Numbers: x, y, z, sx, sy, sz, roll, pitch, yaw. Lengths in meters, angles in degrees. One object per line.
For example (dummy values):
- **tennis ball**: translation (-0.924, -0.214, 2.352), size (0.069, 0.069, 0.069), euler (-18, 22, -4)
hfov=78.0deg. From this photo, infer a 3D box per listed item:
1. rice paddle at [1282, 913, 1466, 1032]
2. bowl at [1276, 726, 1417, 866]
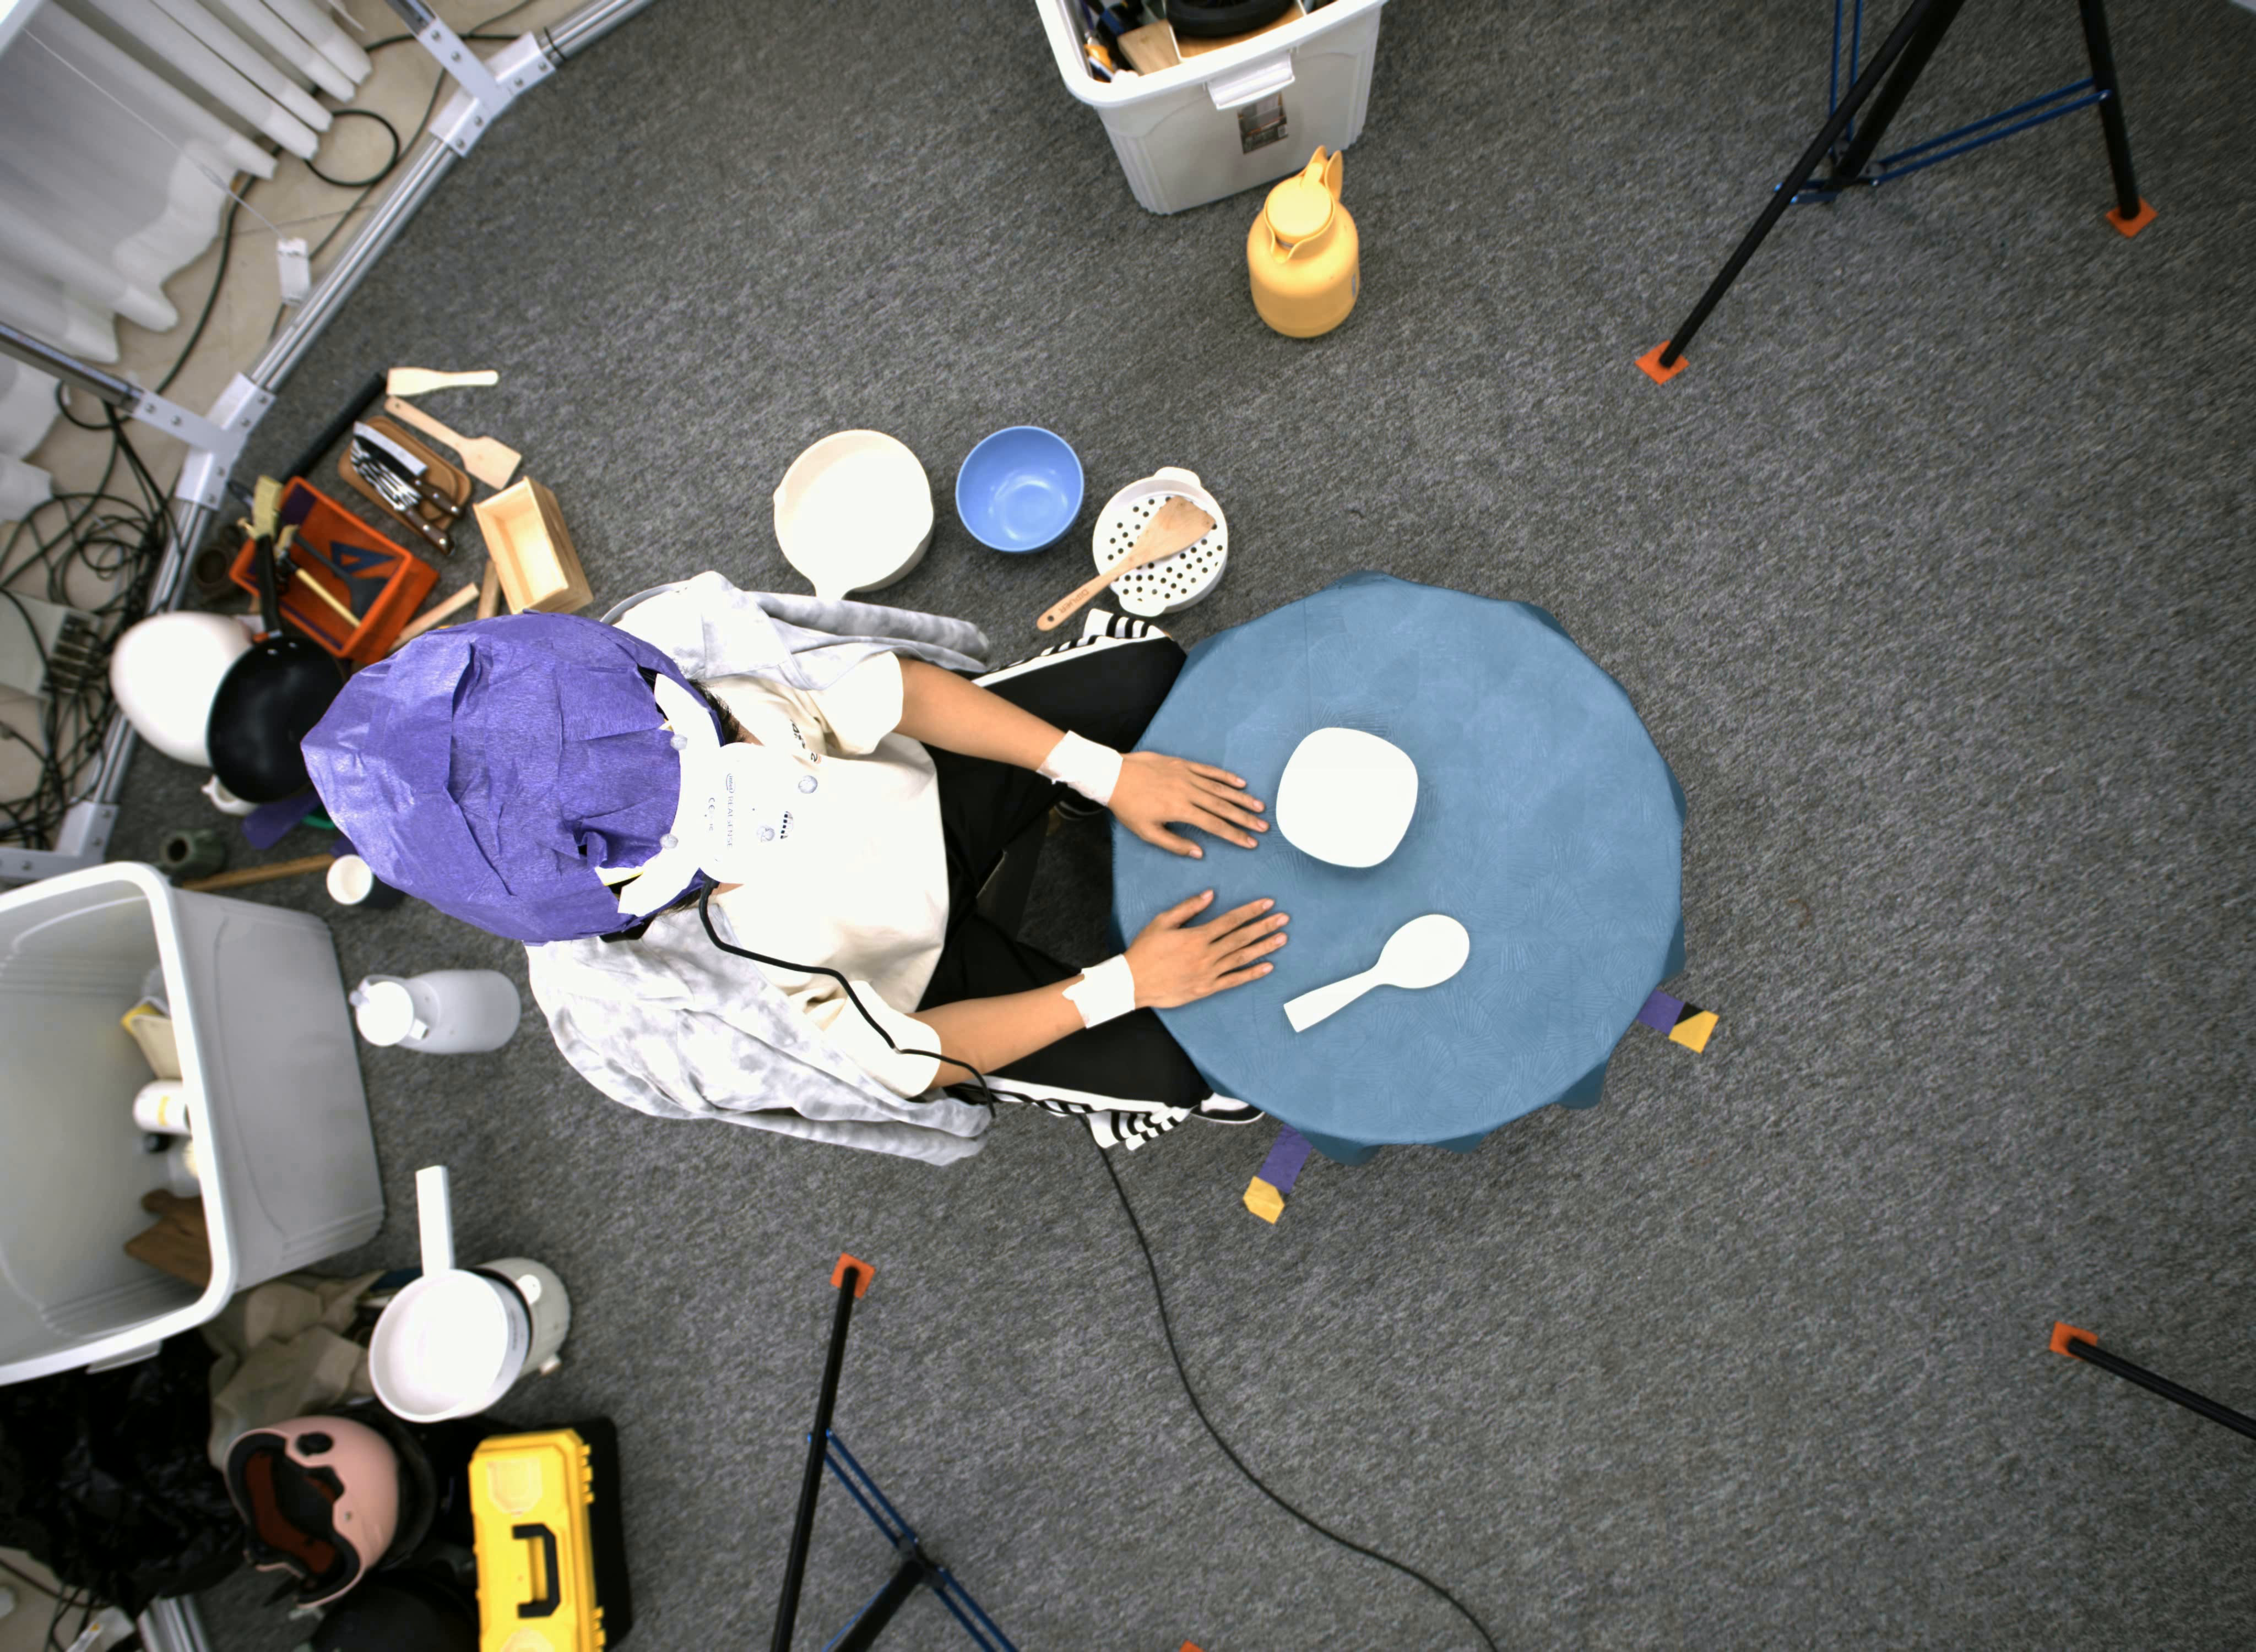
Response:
- **rice paddle**: translation (0.258, 0.153, 1.441), size (0.206, 0.029, 0.068), euler (-28, 84, 8)
- **bowl**: translation (0.228, -0.030, 1.443), size (0.152, 0.058, 0.151), euler (0, 88, 9)
